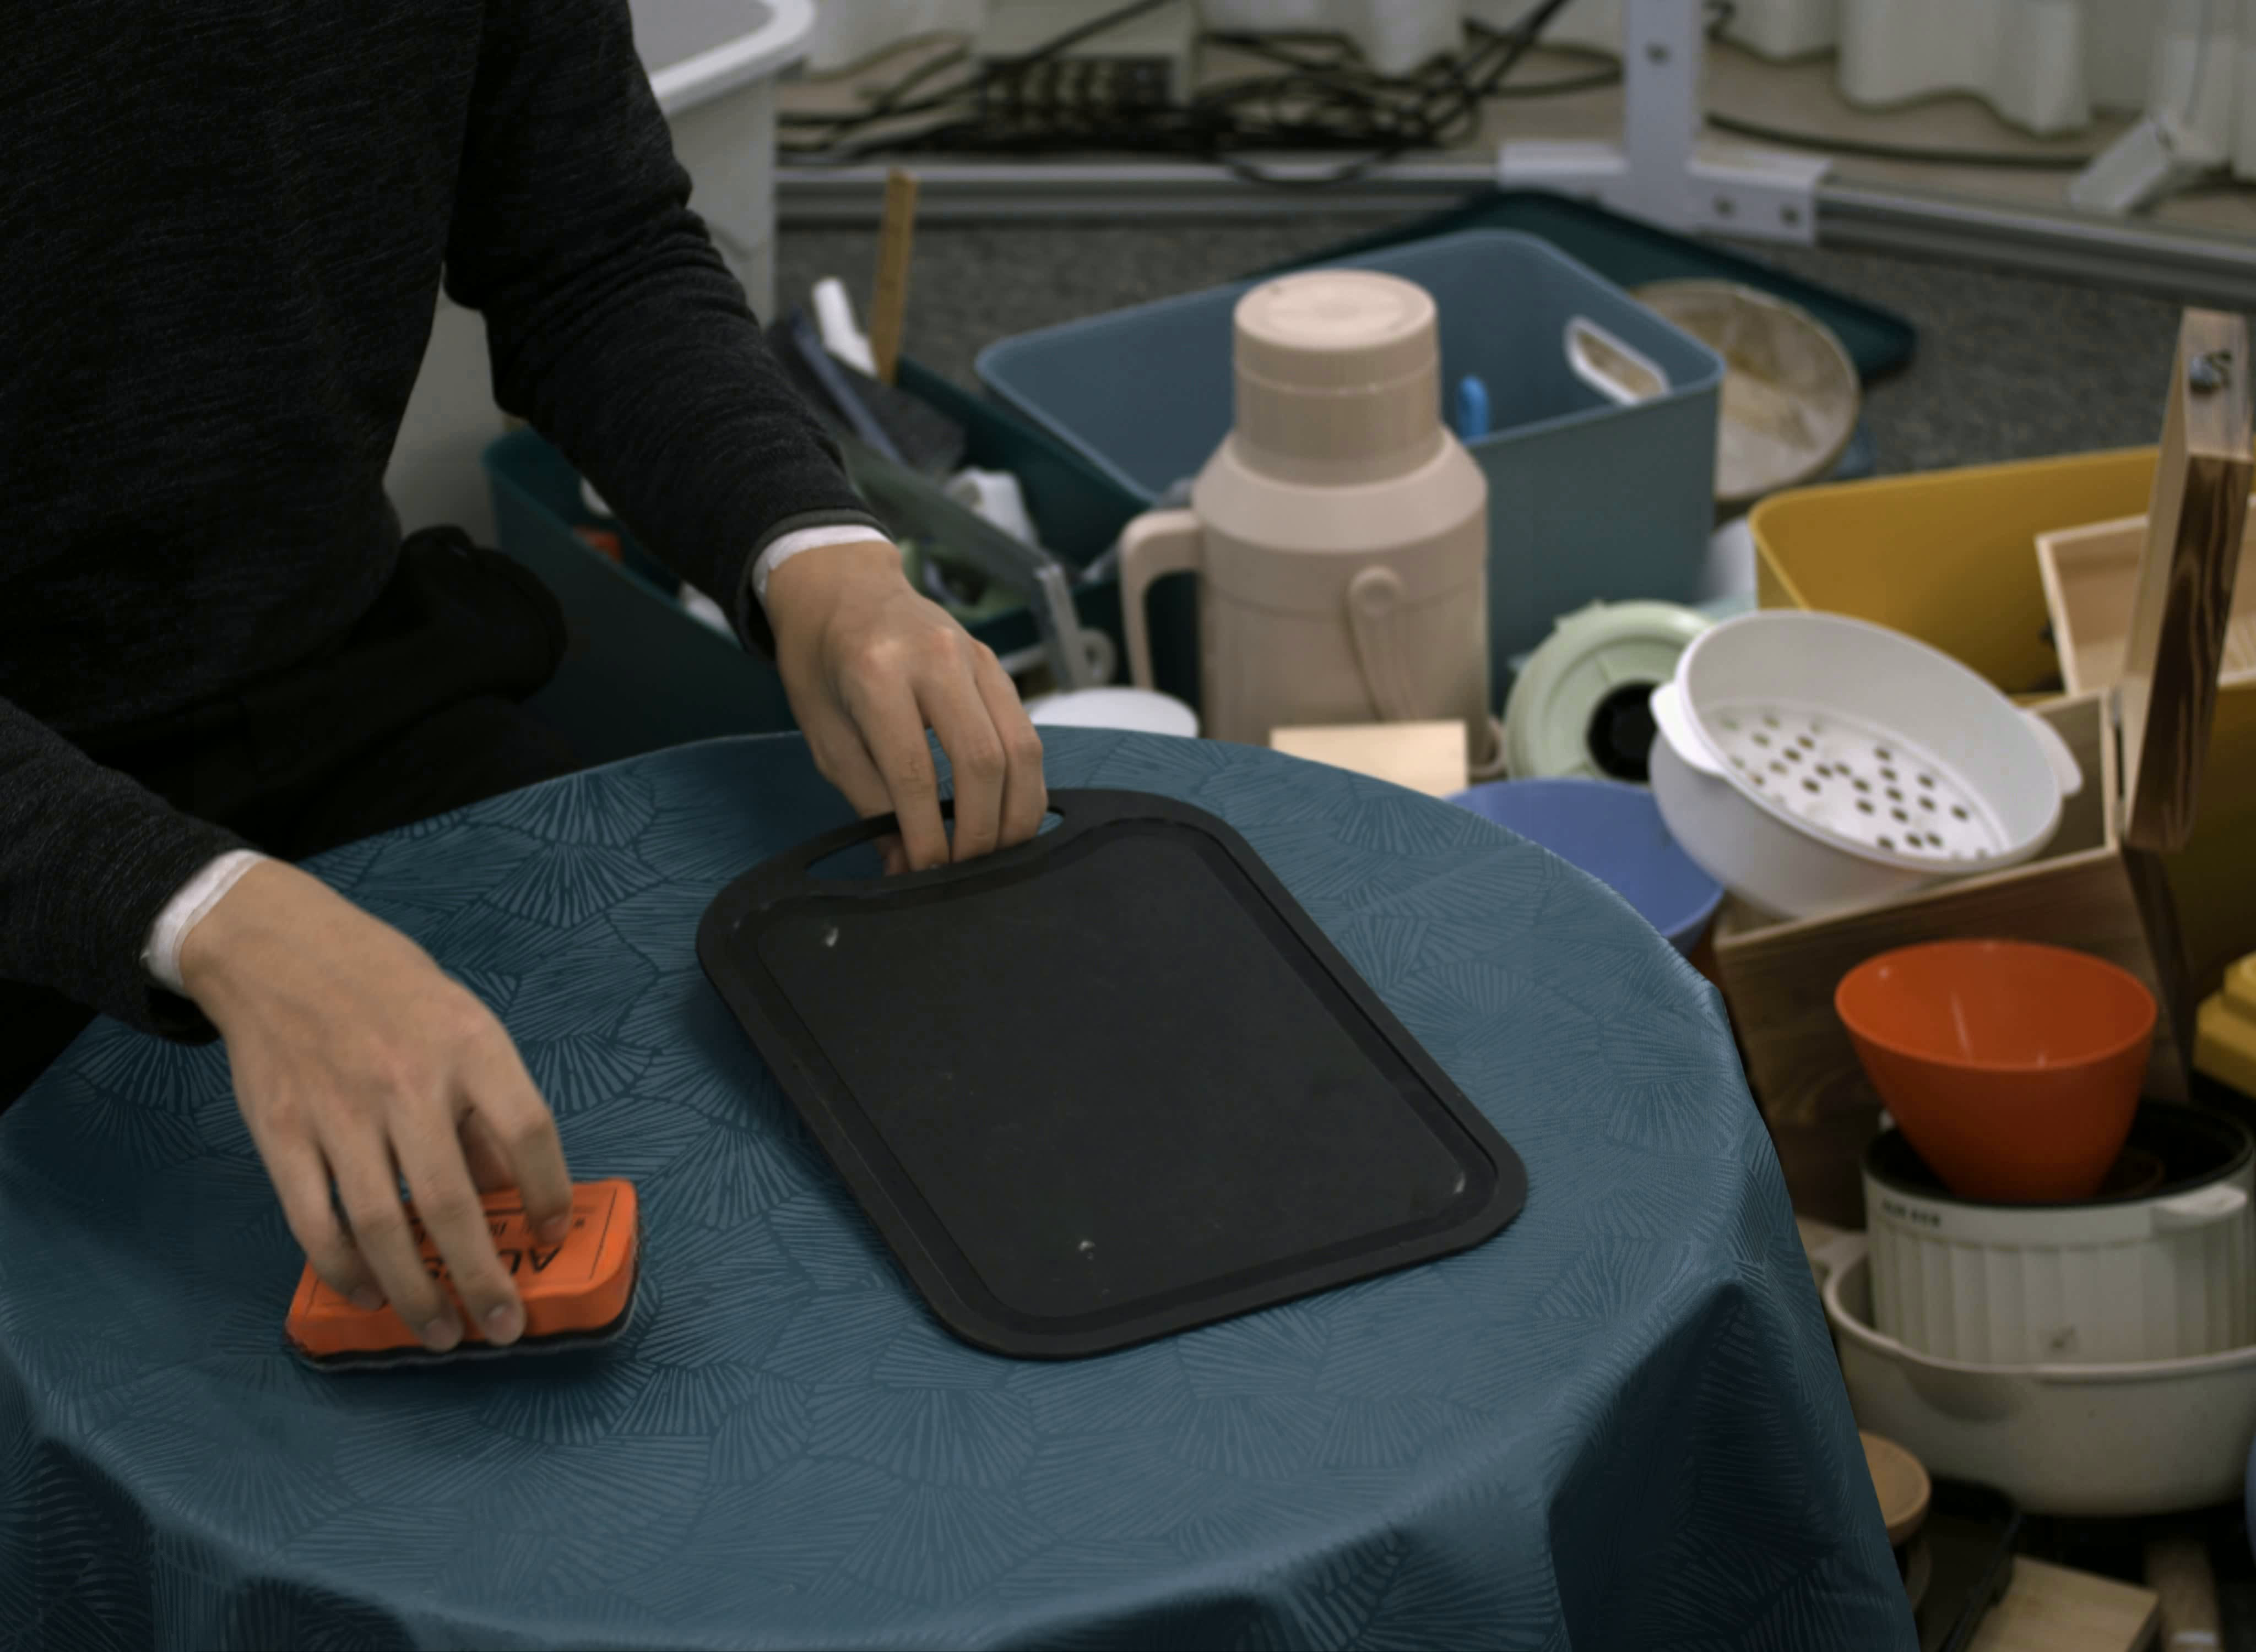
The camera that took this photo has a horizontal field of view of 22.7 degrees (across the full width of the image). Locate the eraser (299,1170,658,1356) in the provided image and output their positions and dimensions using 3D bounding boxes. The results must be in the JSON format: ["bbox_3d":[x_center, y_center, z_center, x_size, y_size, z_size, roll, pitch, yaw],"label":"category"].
[{"bbox_3d":[-0.206,0.140,1.788,0.107,0.022,0.060,-7,33,12],"label":"eraser"}]

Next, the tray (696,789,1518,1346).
[{"bbox_3d":[-0.017,0.072,1.924,0.212,0.009,0.328,-12,33,-19],"label":"tray"}]
